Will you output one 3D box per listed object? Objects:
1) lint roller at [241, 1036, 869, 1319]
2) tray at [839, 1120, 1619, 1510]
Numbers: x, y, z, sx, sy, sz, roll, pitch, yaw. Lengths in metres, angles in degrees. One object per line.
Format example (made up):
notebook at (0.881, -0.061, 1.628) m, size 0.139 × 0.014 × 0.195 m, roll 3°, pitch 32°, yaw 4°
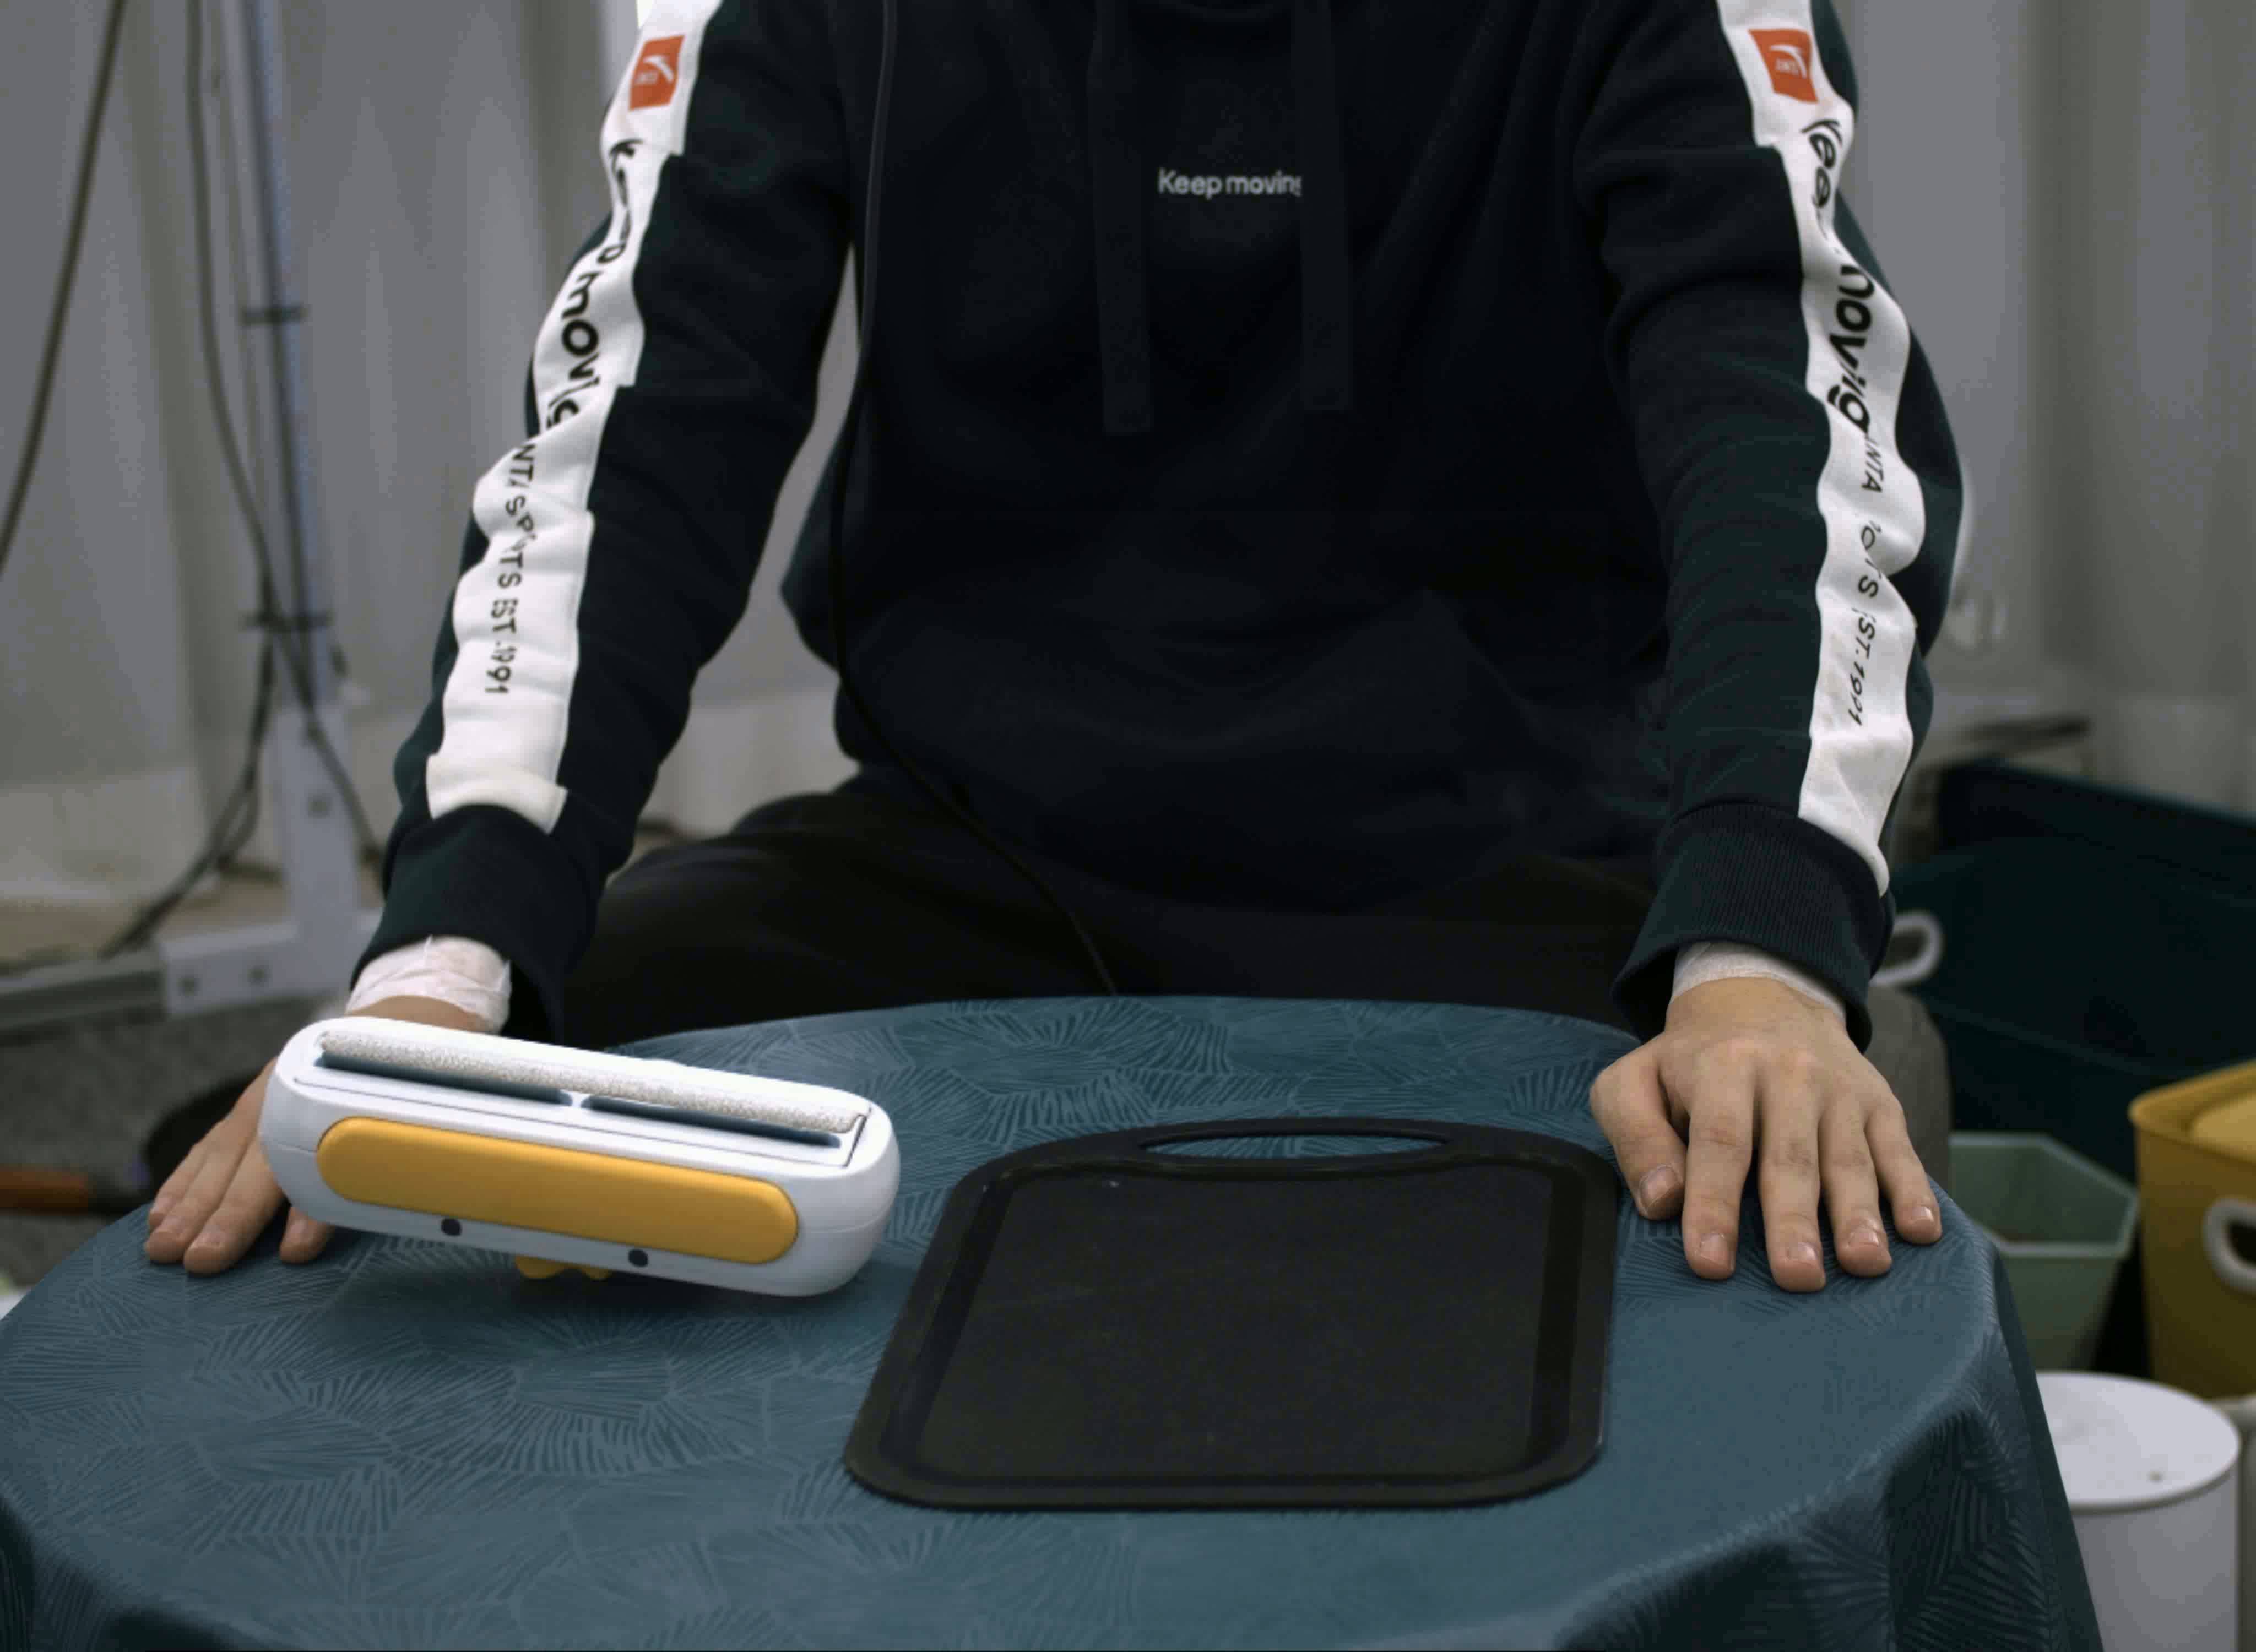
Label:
lint roller at (-0.162, 0.111, 1.704) m, size 0.193 × 0.074 × 0.192 m, roll 7°, pitch 2°, yaw 12°
tray at (0.037, 0.137, 1.609) m, size 0.210 × 0.010 × 0.327 m, roll -1°, pitch 15°, yaw 7°
